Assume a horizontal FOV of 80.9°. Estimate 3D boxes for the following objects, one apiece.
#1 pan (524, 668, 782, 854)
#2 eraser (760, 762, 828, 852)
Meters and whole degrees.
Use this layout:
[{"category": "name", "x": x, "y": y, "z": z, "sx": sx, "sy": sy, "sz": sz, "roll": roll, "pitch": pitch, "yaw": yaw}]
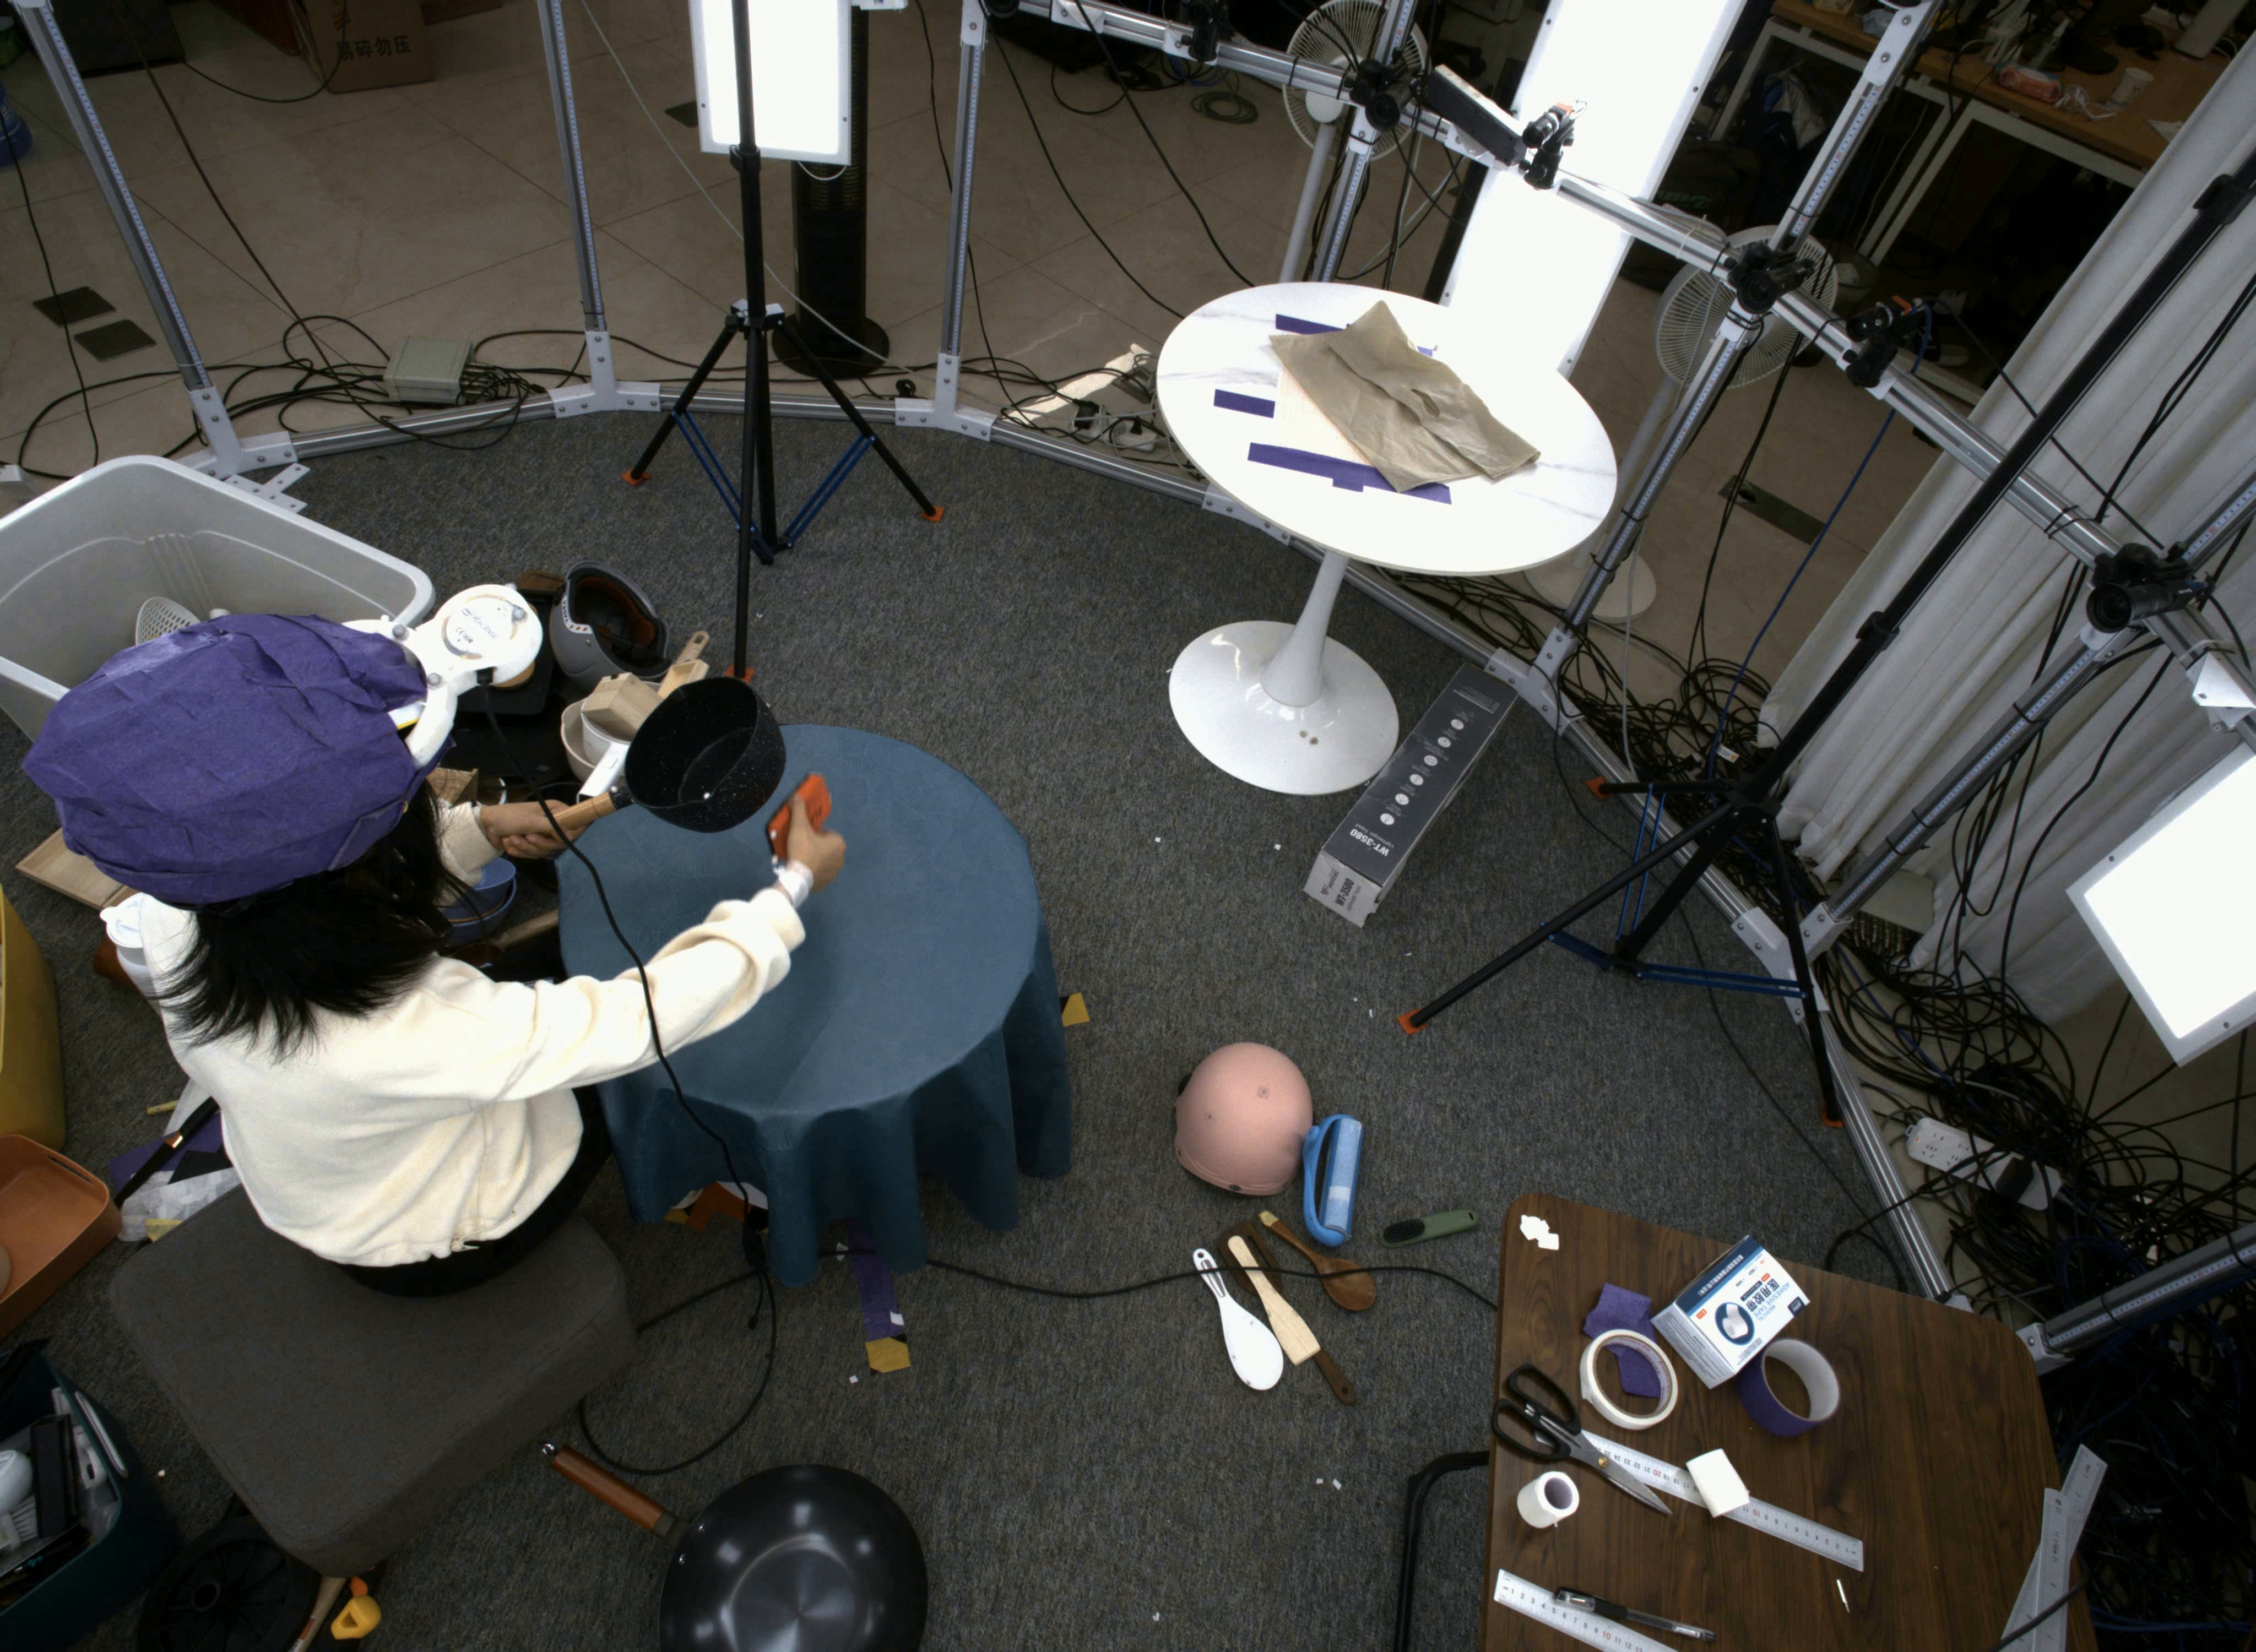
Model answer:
[{"category": "pan", "x": -0.557, "y": -0.045, "z": 1.478, "sx": 0.341, "sy": 0.112, "sz": 0.201, "roll": -32, "pitch": 53, "yaw": -1}, {"category": "eraser", "x": -0.393, "y": -0.024, "z": 1.527, "sx": 0.022, "sy": 0.061, "sz": 0.107, "roll": 12, "pitch": 44, "yaw": 15}]
